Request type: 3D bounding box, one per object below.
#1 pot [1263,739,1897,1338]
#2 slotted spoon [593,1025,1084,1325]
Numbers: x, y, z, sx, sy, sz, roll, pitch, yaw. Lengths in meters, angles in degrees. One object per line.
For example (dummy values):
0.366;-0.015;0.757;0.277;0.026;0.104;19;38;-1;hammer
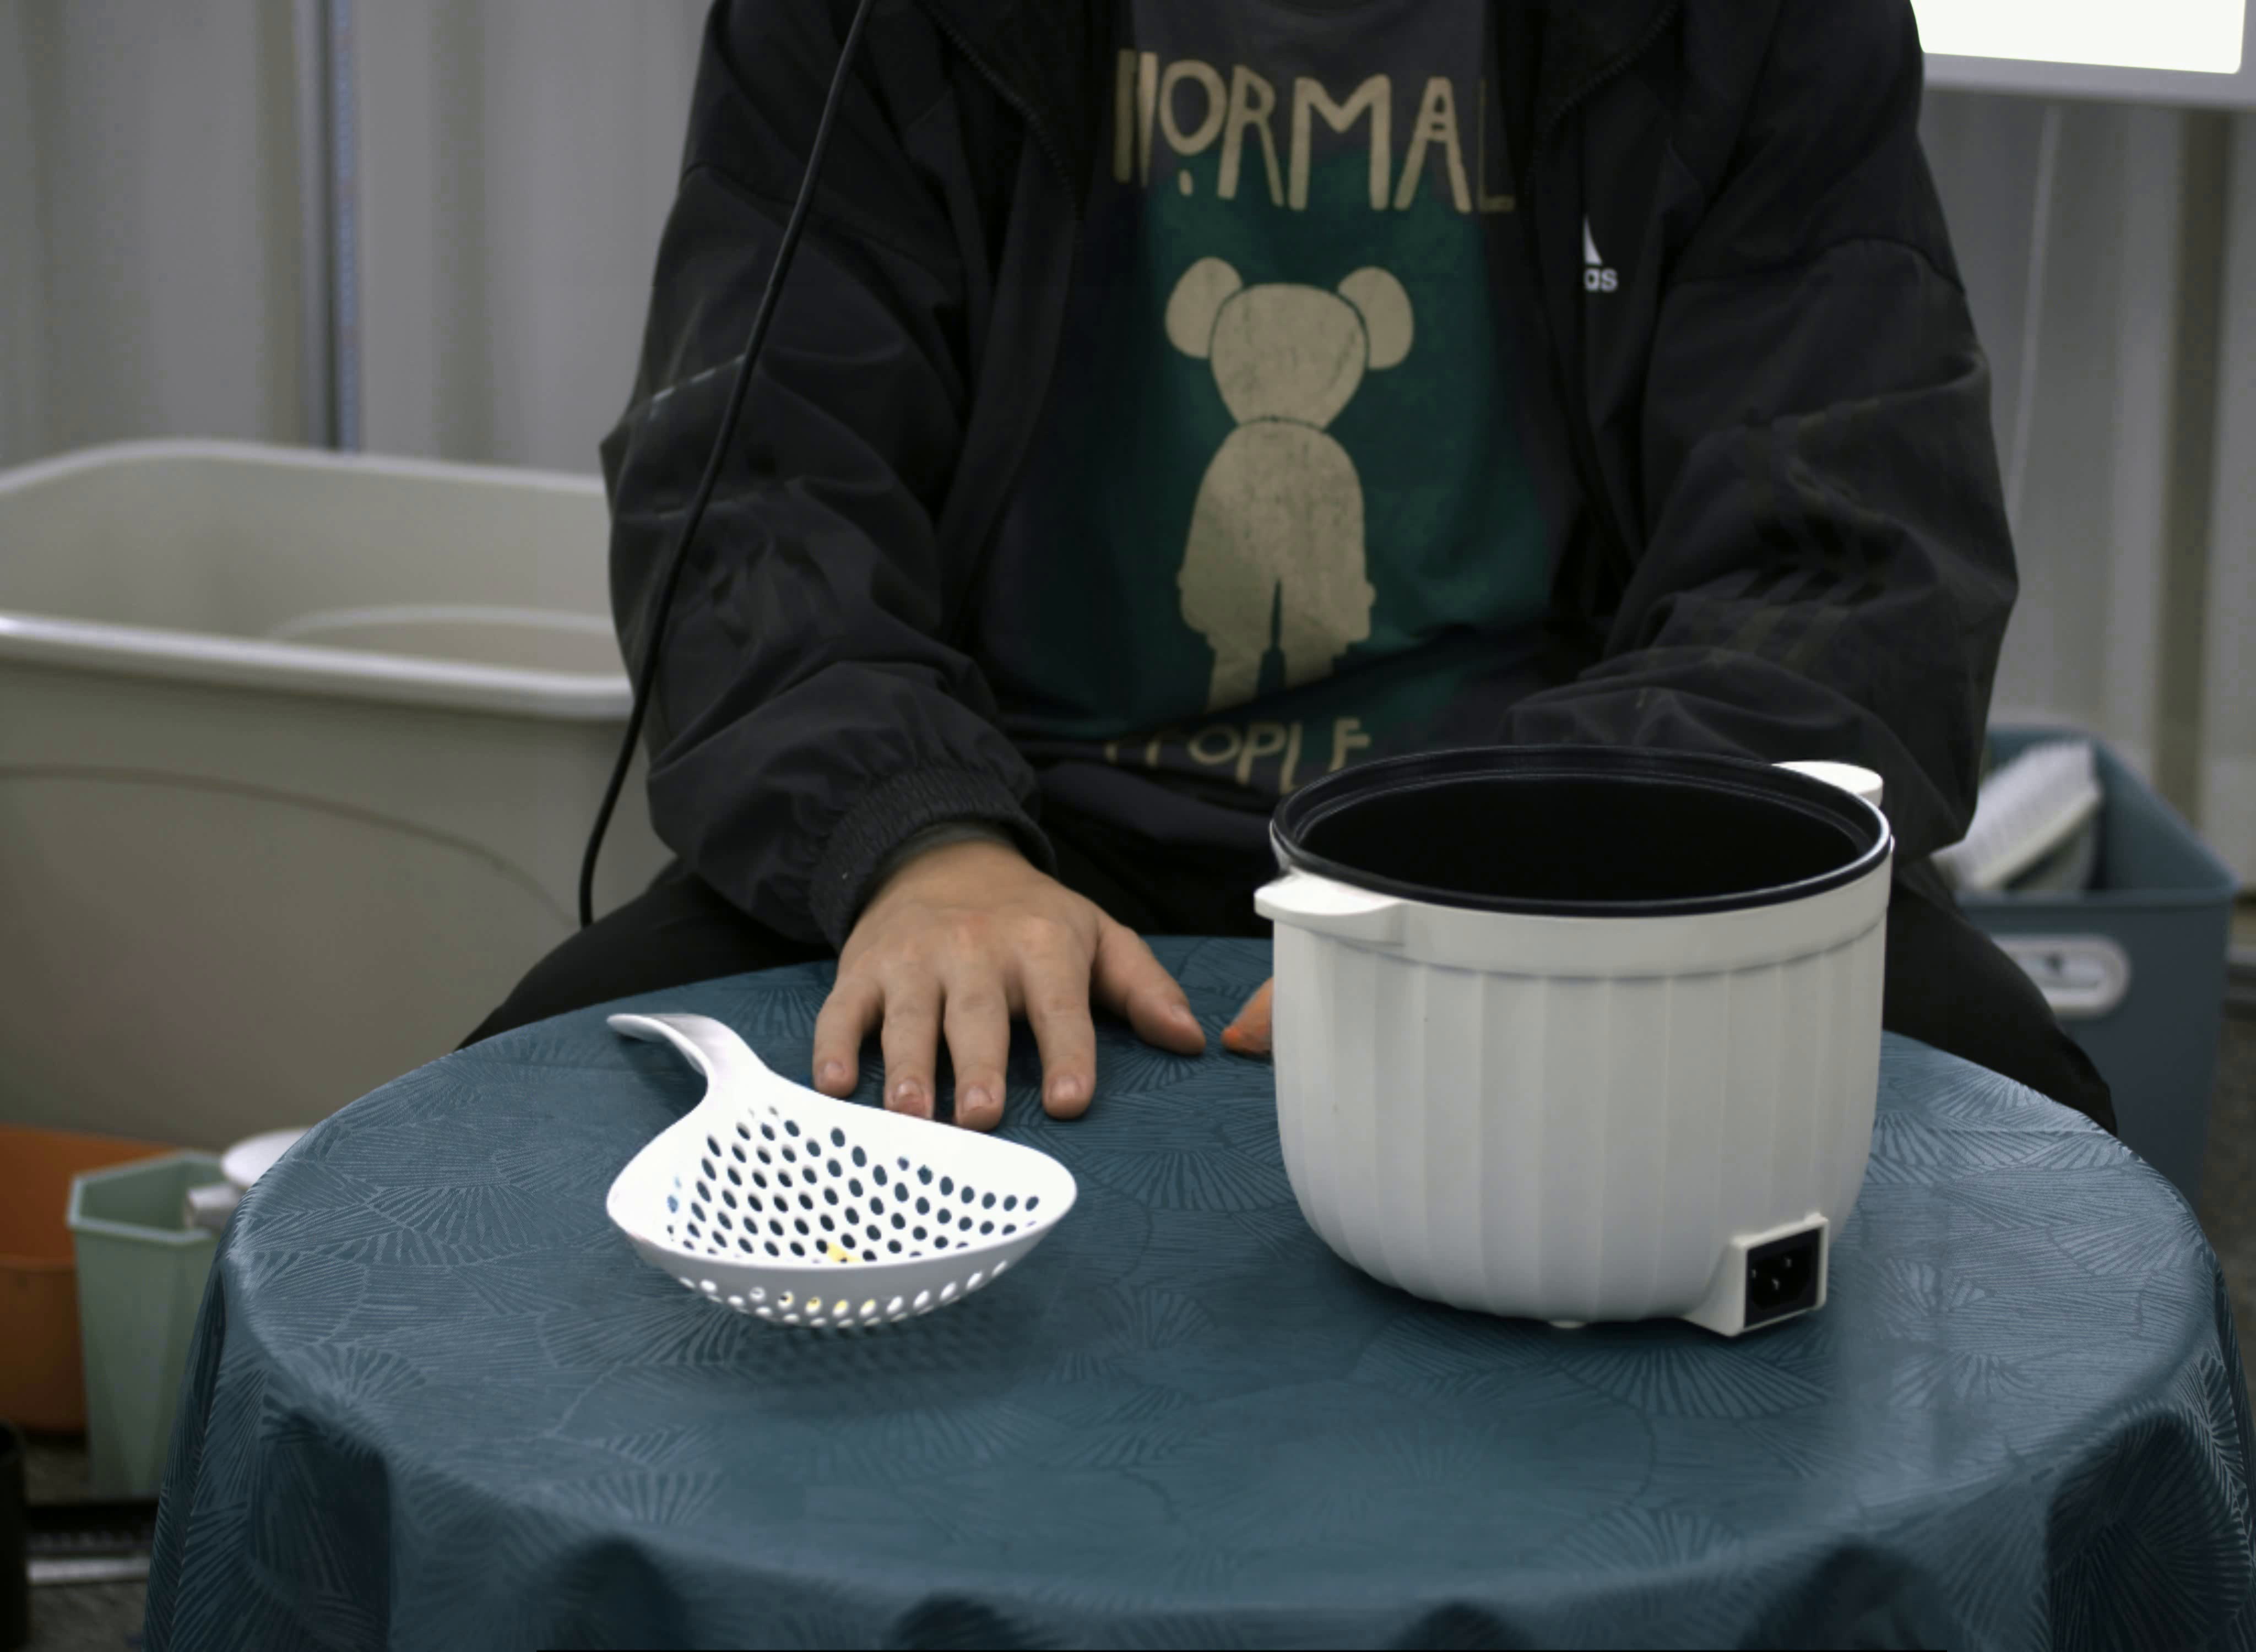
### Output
0.128;0.061;1.555;0.242;0.144;0.188;-11;22;-40;pot
-0.114;0.092;1.613;0.137;0.051;0.344;-6;17;-17;slotted spoon
